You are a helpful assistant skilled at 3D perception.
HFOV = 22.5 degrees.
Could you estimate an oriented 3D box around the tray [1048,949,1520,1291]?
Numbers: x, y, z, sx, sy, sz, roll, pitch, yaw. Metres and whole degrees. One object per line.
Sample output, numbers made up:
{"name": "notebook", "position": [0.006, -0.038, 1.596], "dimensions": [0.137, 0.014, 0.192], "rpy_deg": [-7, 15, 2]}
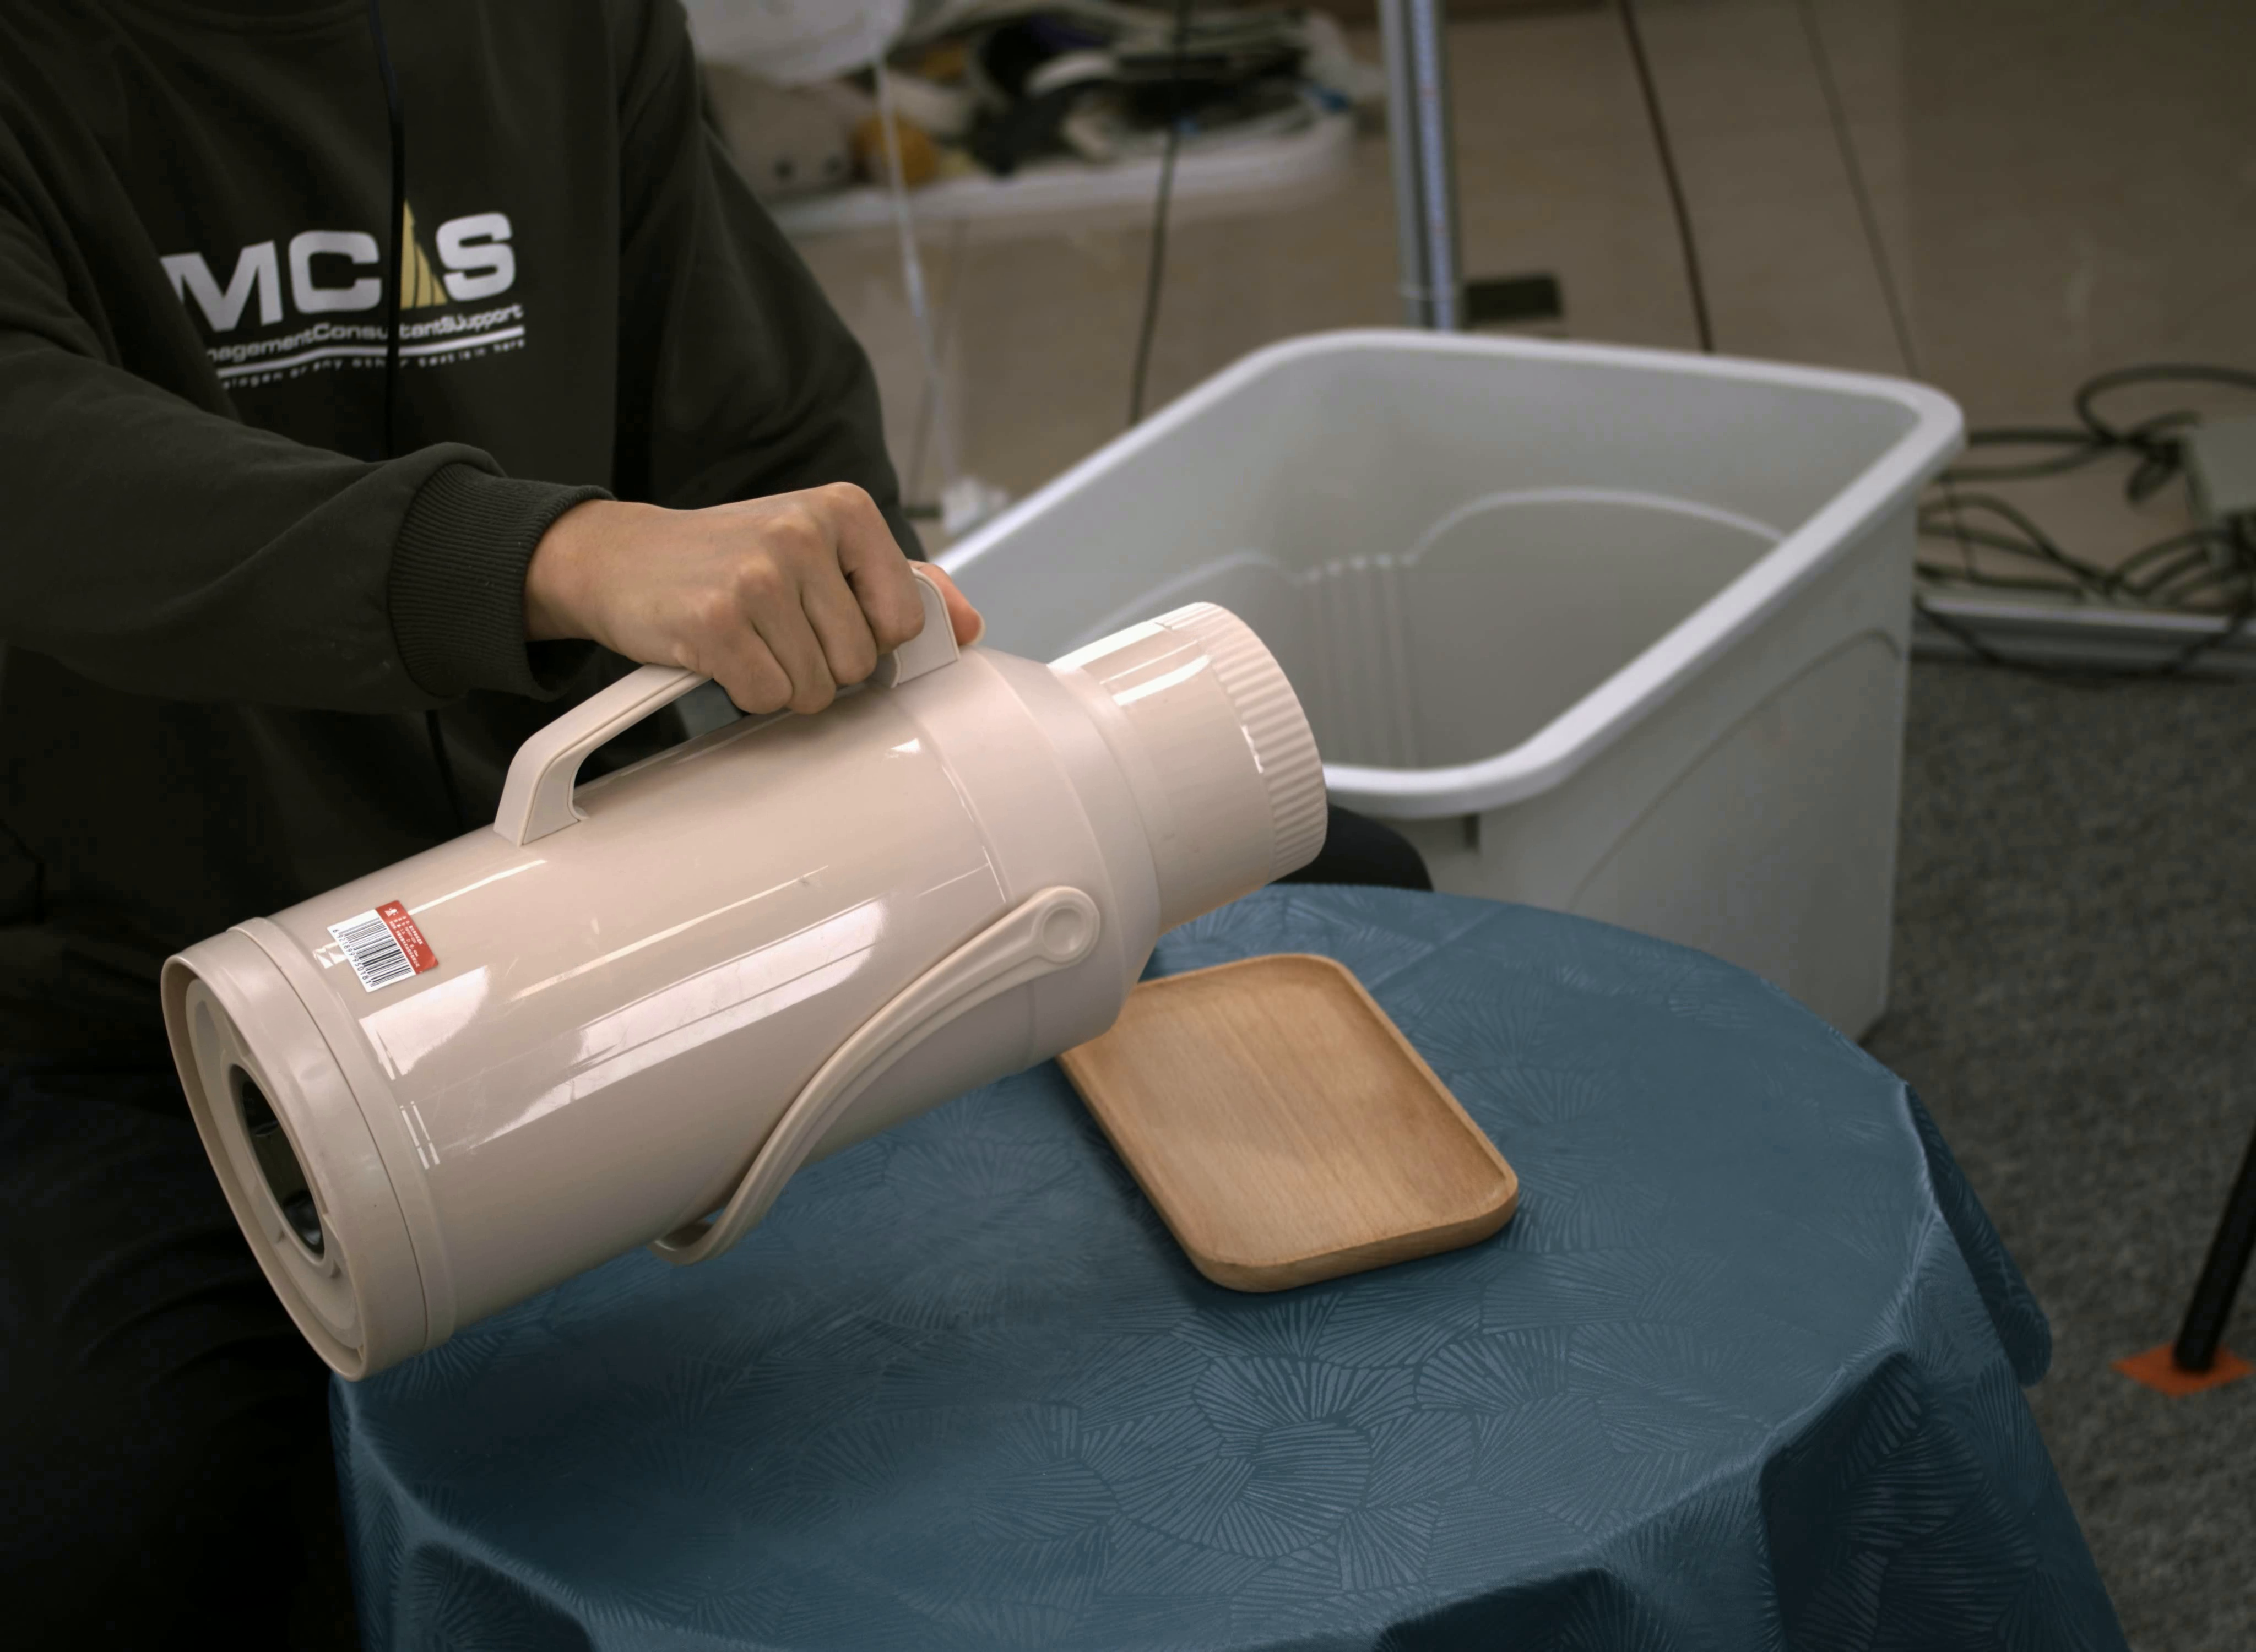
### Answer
{"name": "tray", "position": [0.057, 0.111, 2.176], "dimensions": [0.130, 0.023, 0.247], "rpy_deg": [-10, 24, -13]}

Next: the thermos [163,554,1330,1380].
{"name": "thermos", "position": [-0.129, 0.028, 1.991], "dimensions": [0.404, 0.210, 0.173], "rpy_deg": [-24, 27, -19]}
